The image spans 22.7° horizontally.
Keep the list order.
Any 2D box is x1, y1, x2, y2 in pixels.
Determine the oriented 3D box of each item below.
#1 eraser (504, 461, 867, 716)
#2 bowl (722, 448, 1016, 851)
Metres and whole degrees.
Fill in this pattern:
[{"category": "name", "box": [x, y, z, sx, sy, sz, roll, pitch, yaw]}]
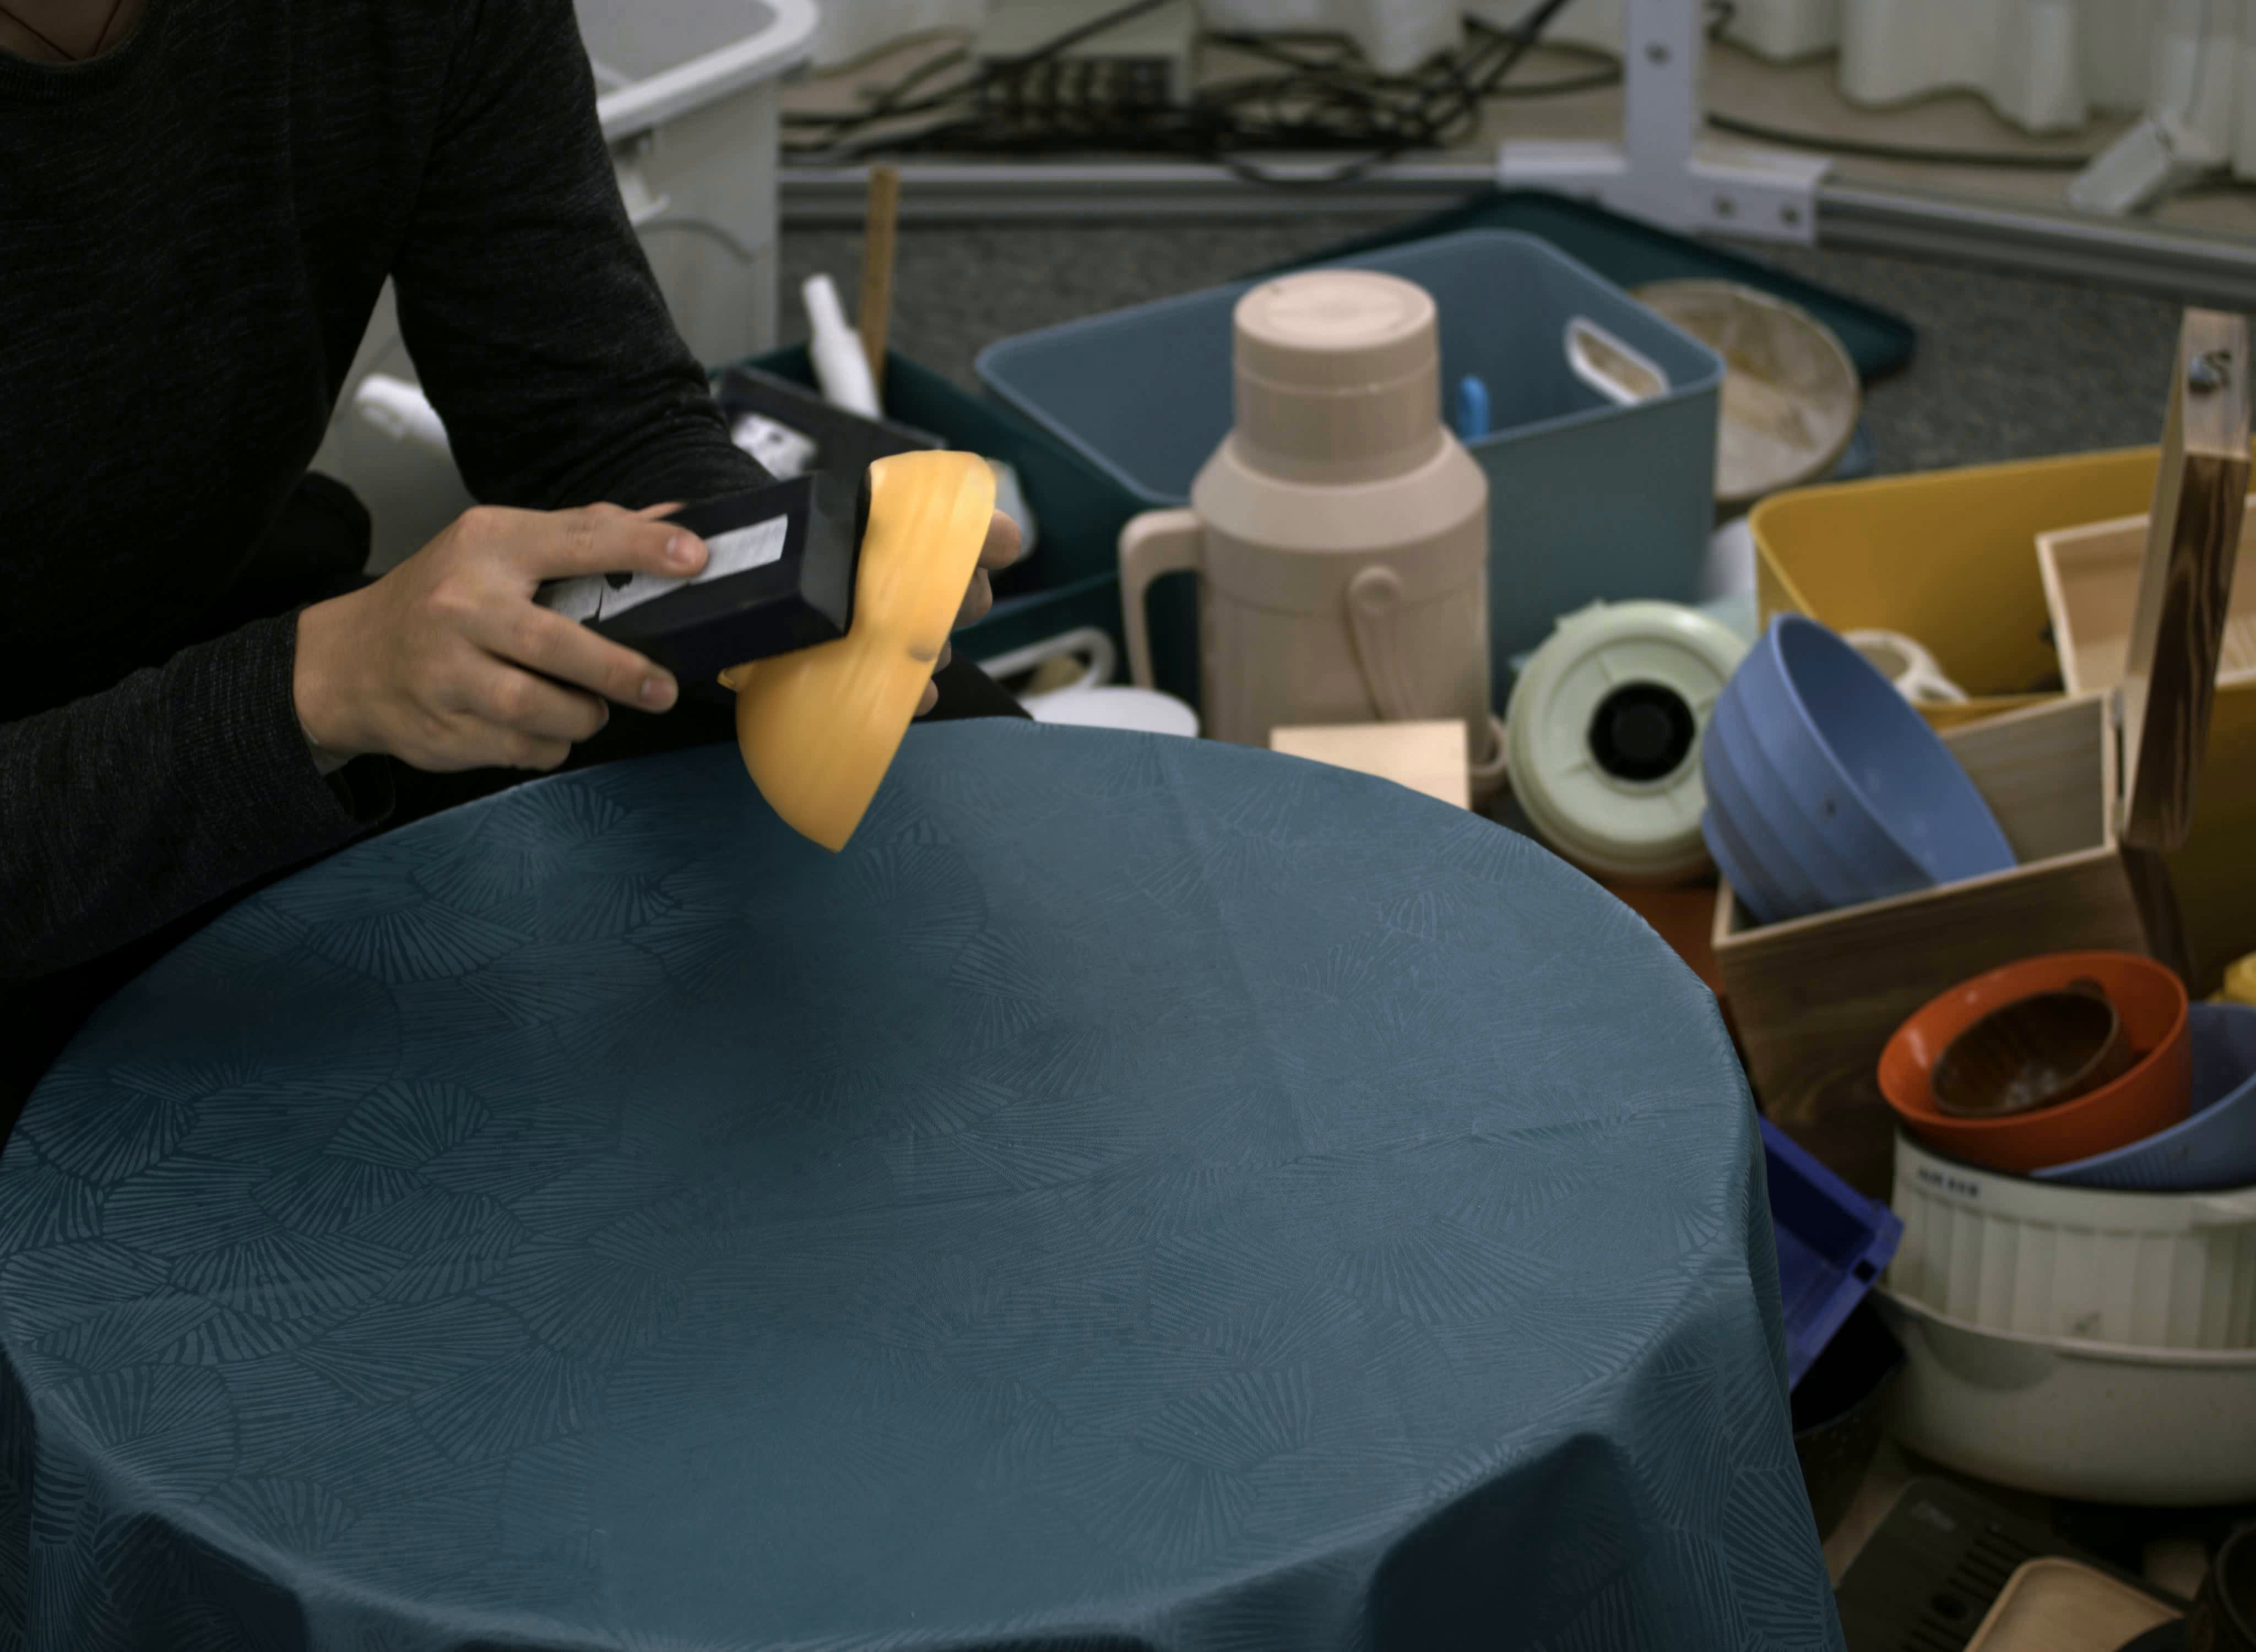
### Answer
[{"category": "eraser", "box": [-0.143, -0.077, 1.822, 0.124, 0.030, 0.054, -16, 50, 28]}, {"category": "bowl", "box": [-0.094, -0.069, 1.861, 0.060, 0.143, 0.148, 26, 27, -6]}]
